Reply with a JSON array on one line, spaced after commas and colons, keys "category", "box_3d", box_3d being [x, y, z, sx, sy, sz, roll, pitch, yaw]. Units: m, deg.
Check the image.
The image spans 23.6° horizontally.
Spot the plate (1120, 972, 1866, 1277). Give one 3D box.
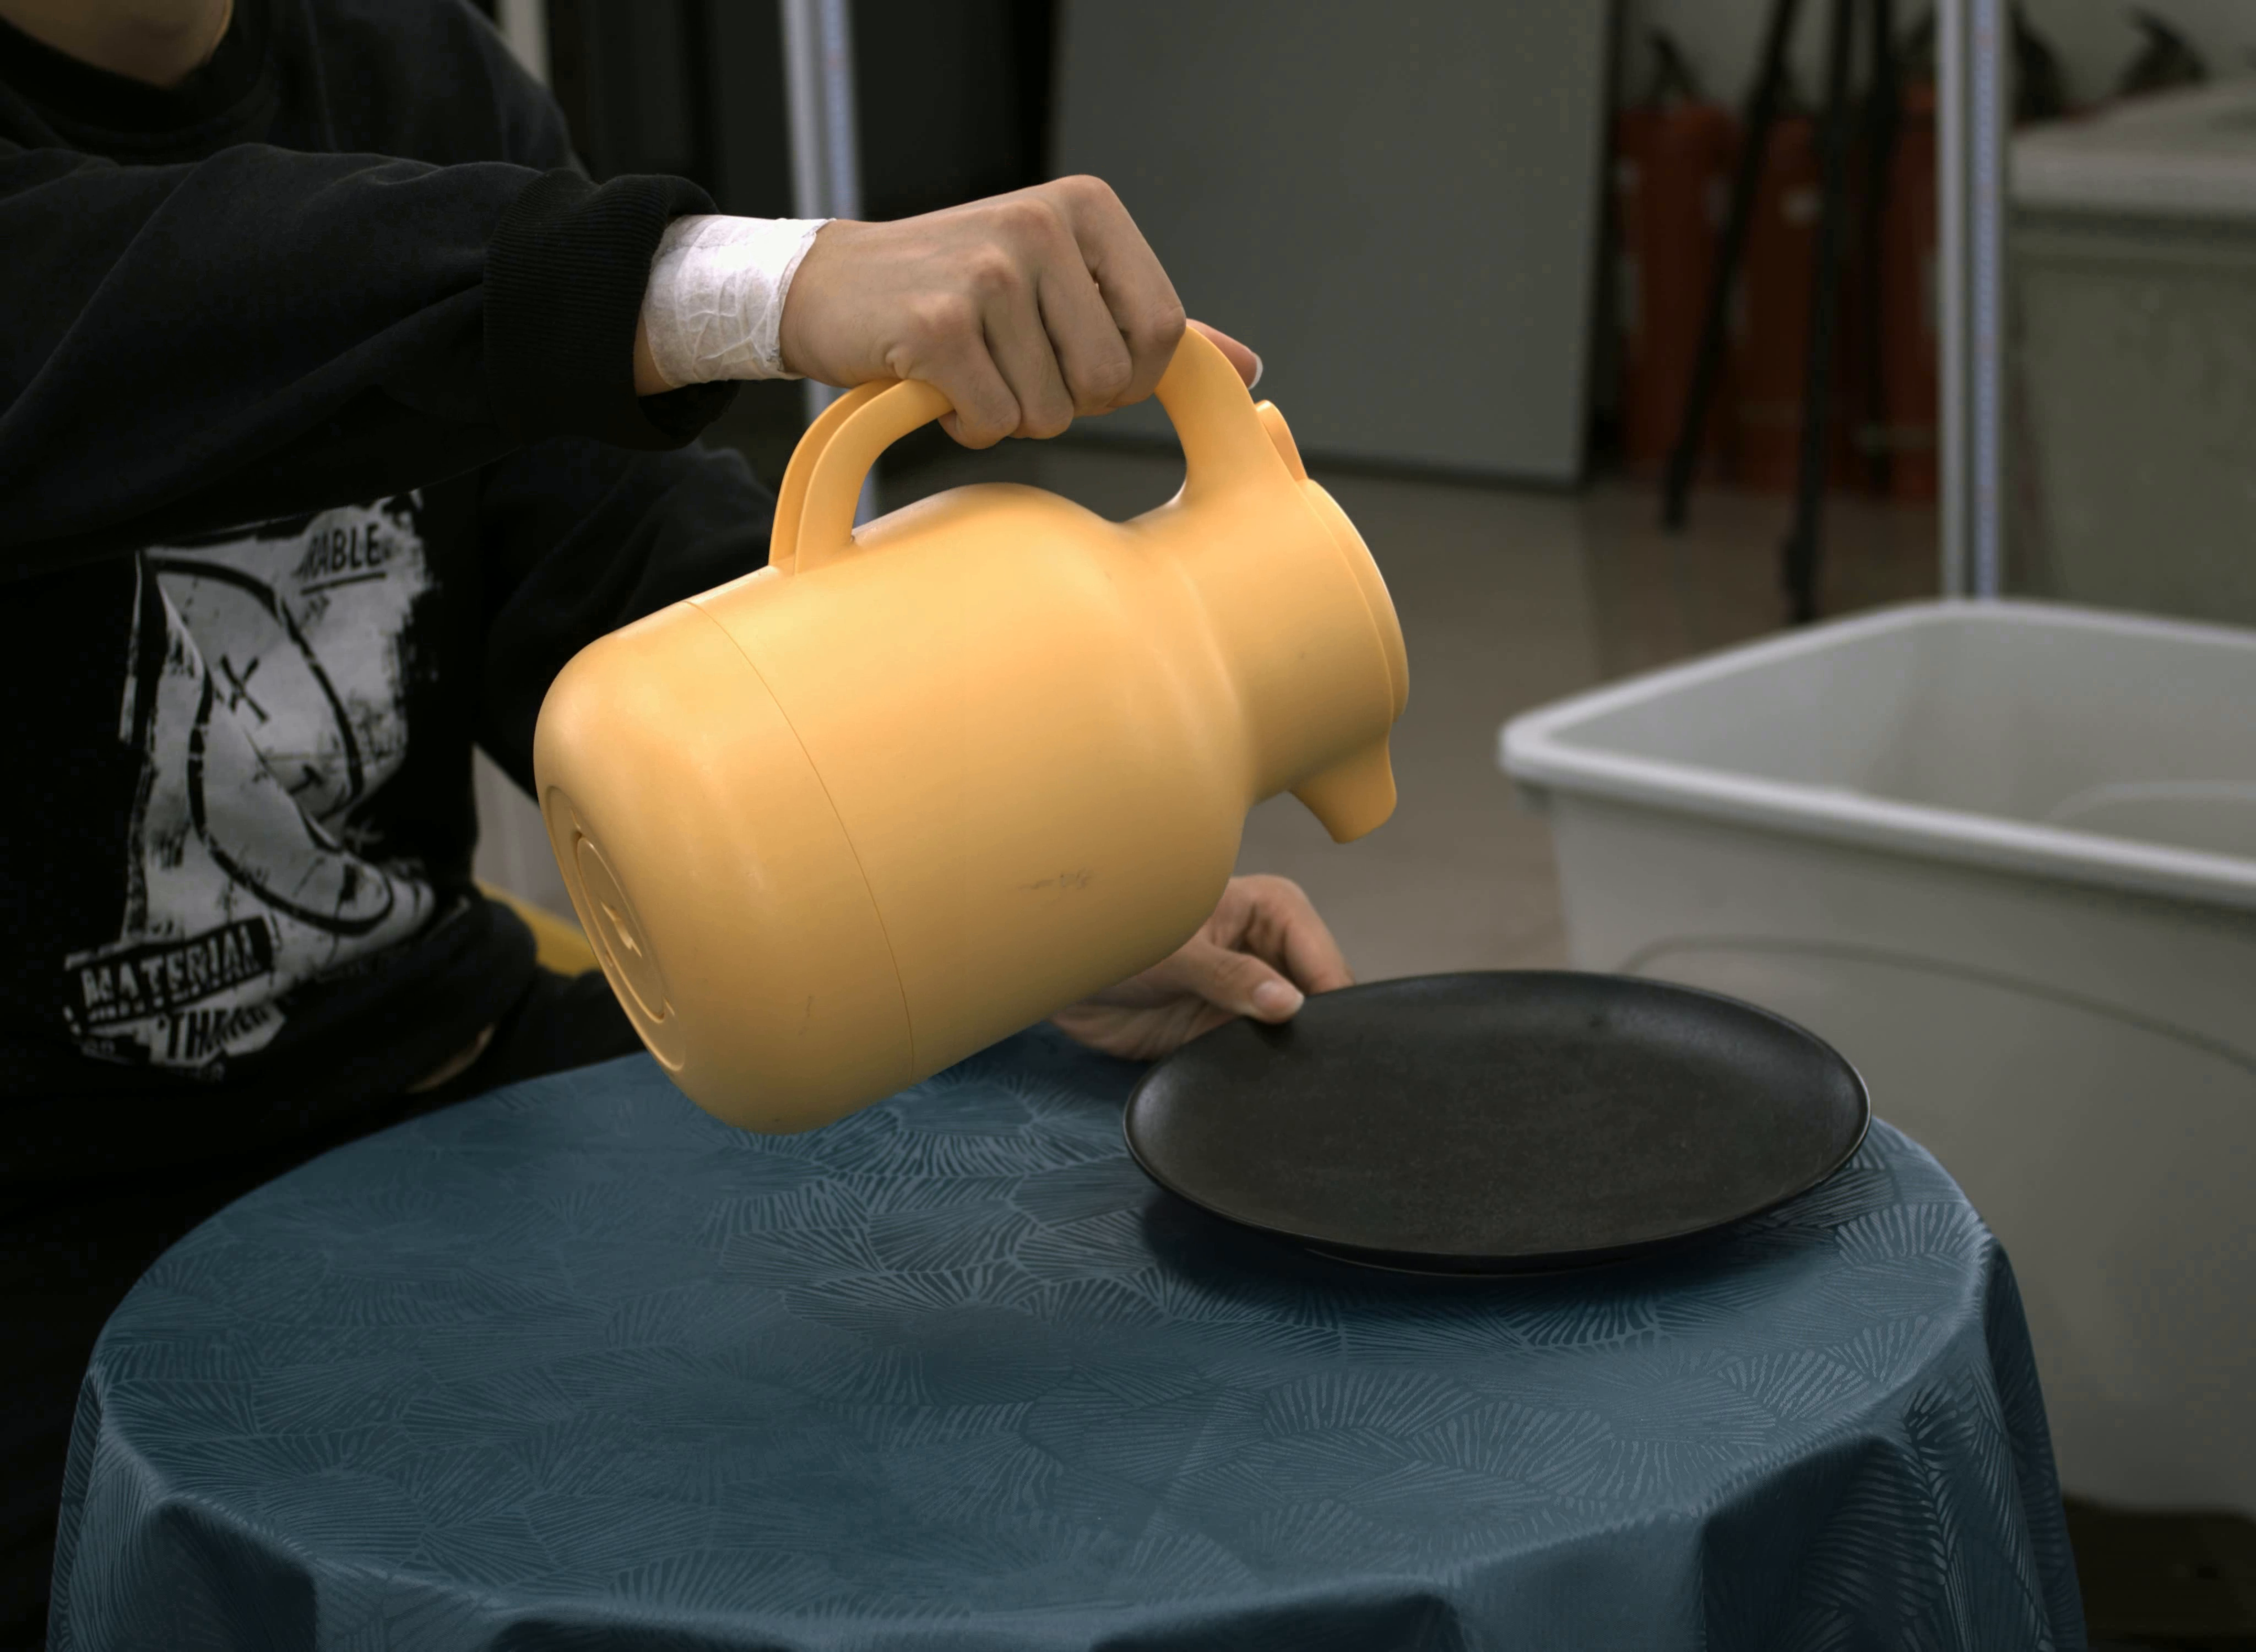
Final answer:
[{"category": "plate", "box_3d": [0.118, 0.099, 1.744, 0.241, 0.023, 0.245, -3, 19, 0]}]

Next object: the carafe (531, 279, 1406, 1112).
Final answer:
[{"category": "carafe", "box_3d": [-0.050, -0.046, 1.638, 0.256, 0.204, 0.165, -23, 11, -17]}]
